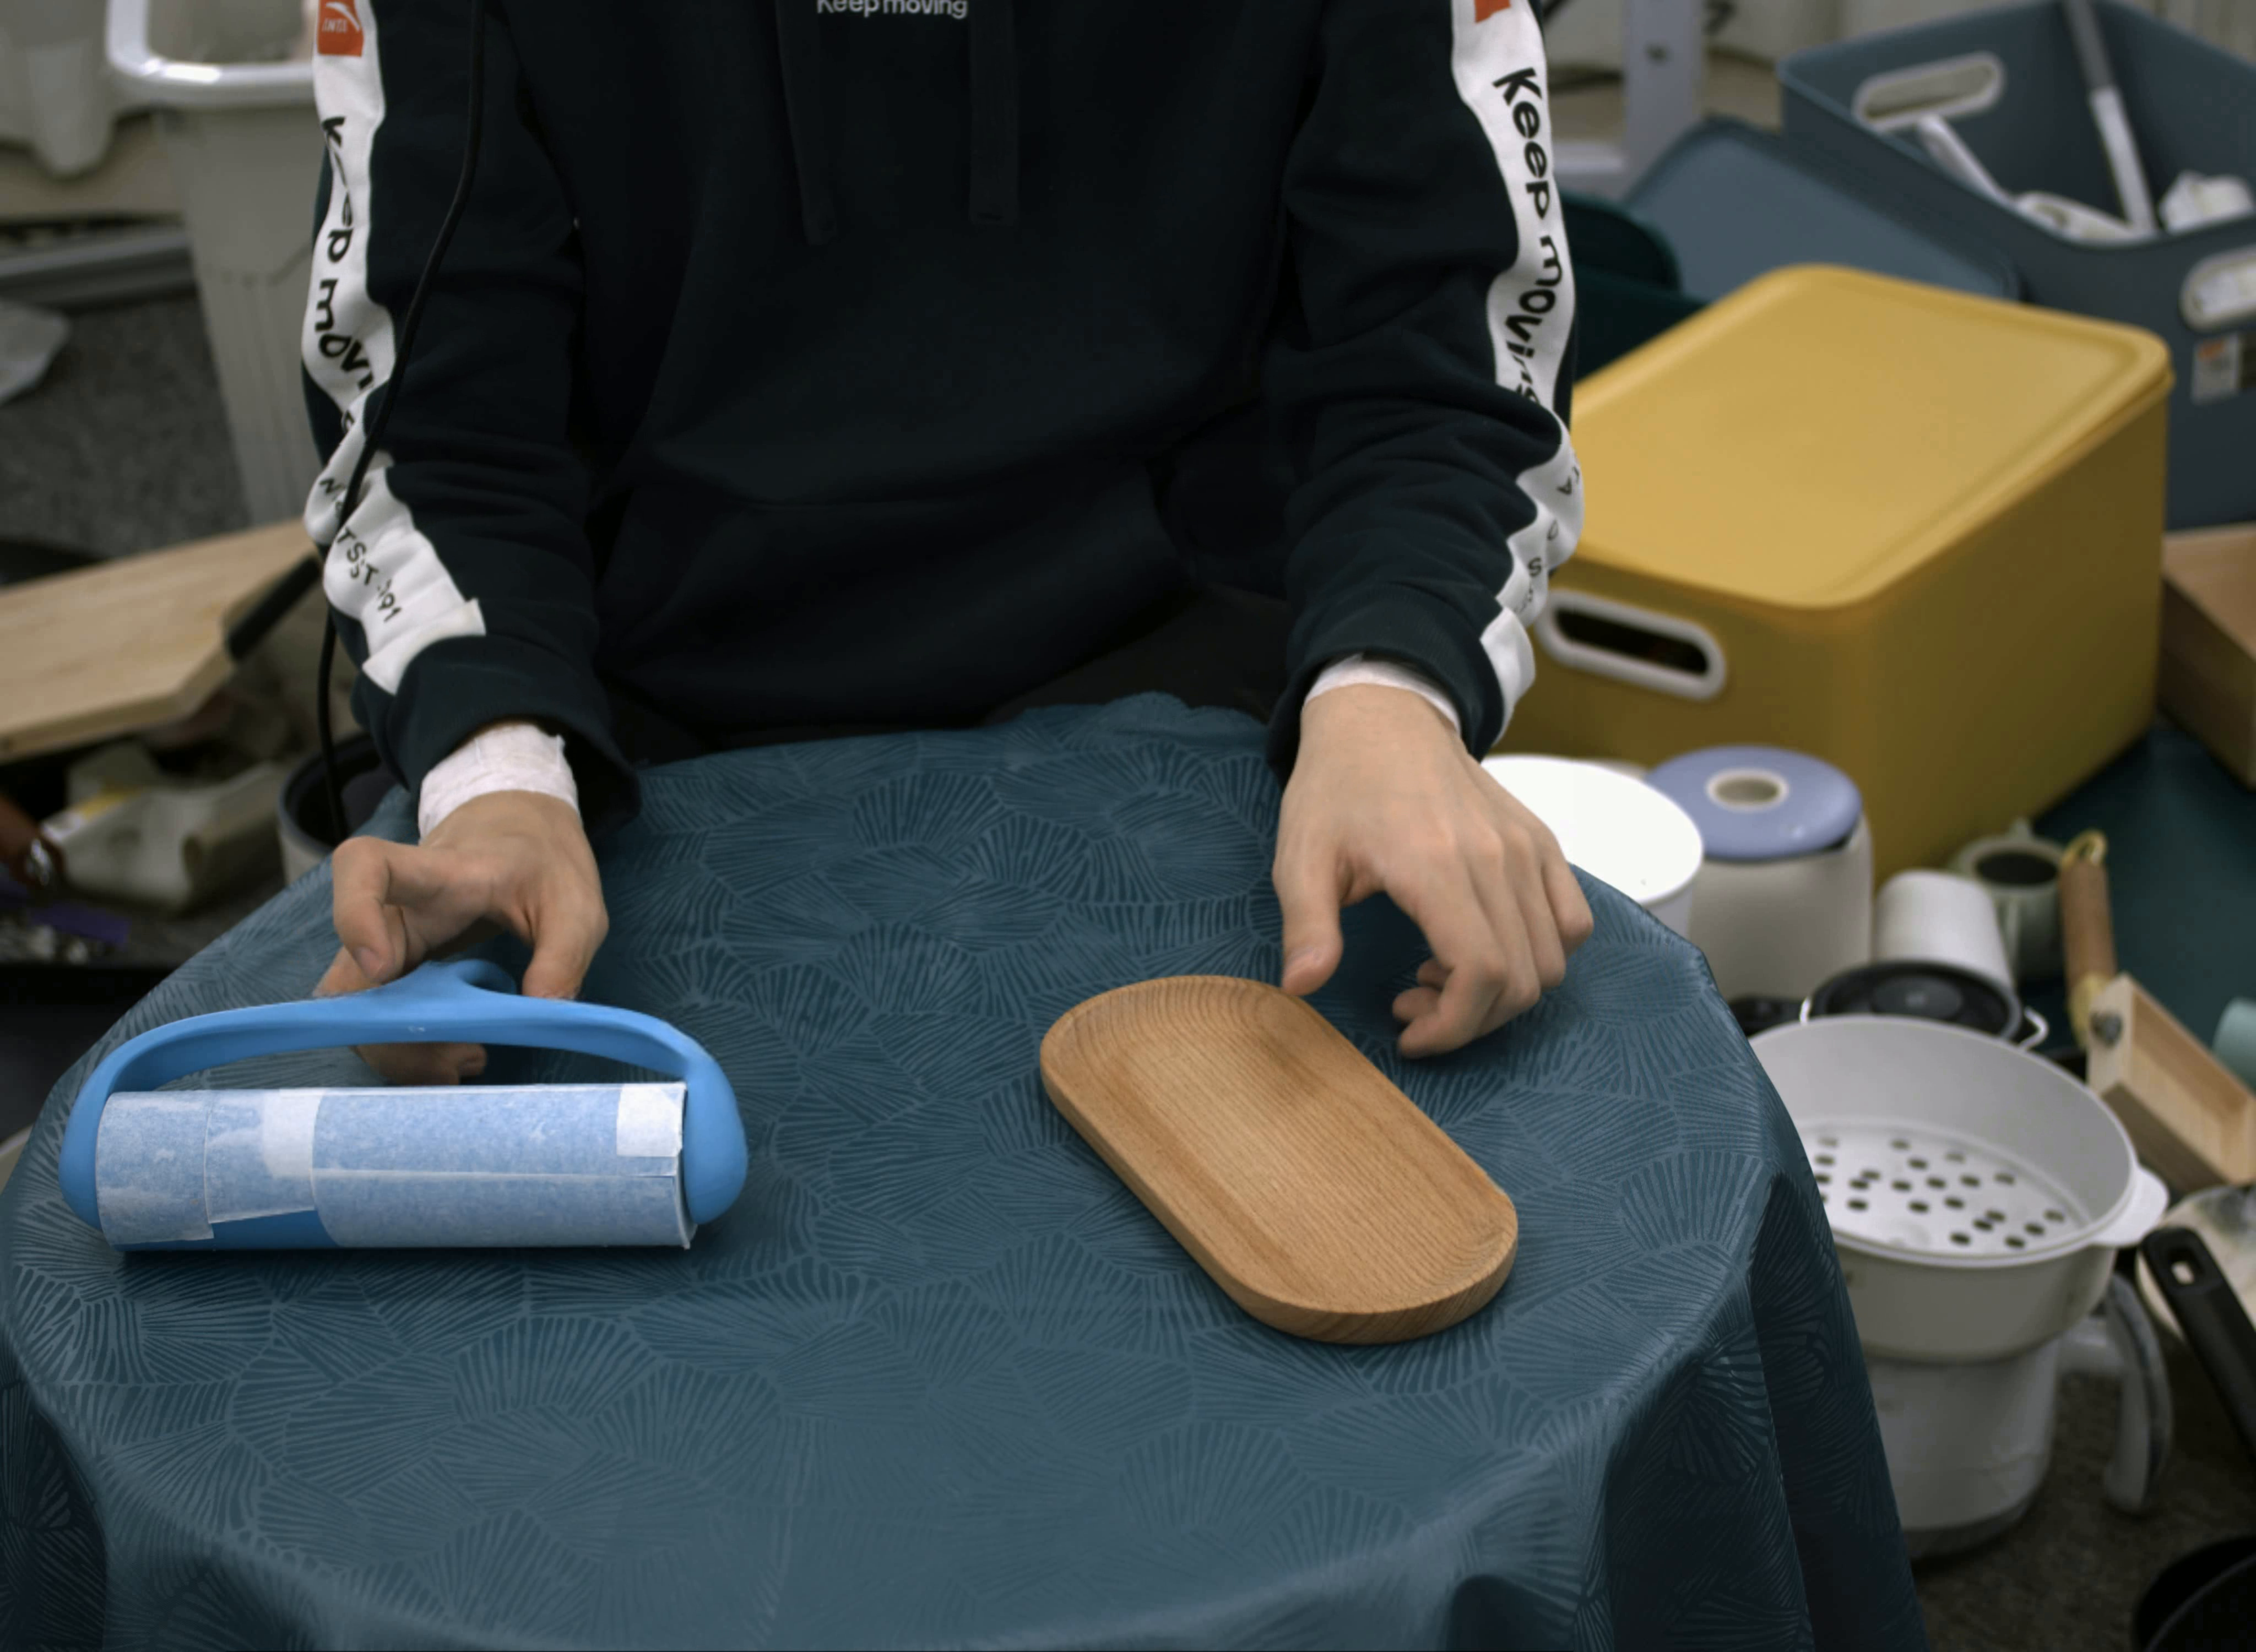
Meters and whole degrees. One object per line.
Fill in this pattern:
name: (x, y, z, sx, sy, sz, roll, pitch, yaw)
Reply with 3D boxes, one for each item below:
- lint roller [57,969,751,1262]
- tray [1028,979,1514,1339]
lint roller: (-0.236, 0.084, 1.894, 0.228, 0.067, 0.183, -4, 29, 2)
tray: (0.045, 0.108, 1.864, 0.102, 0.020, 0.232, -14, 28, -22)
